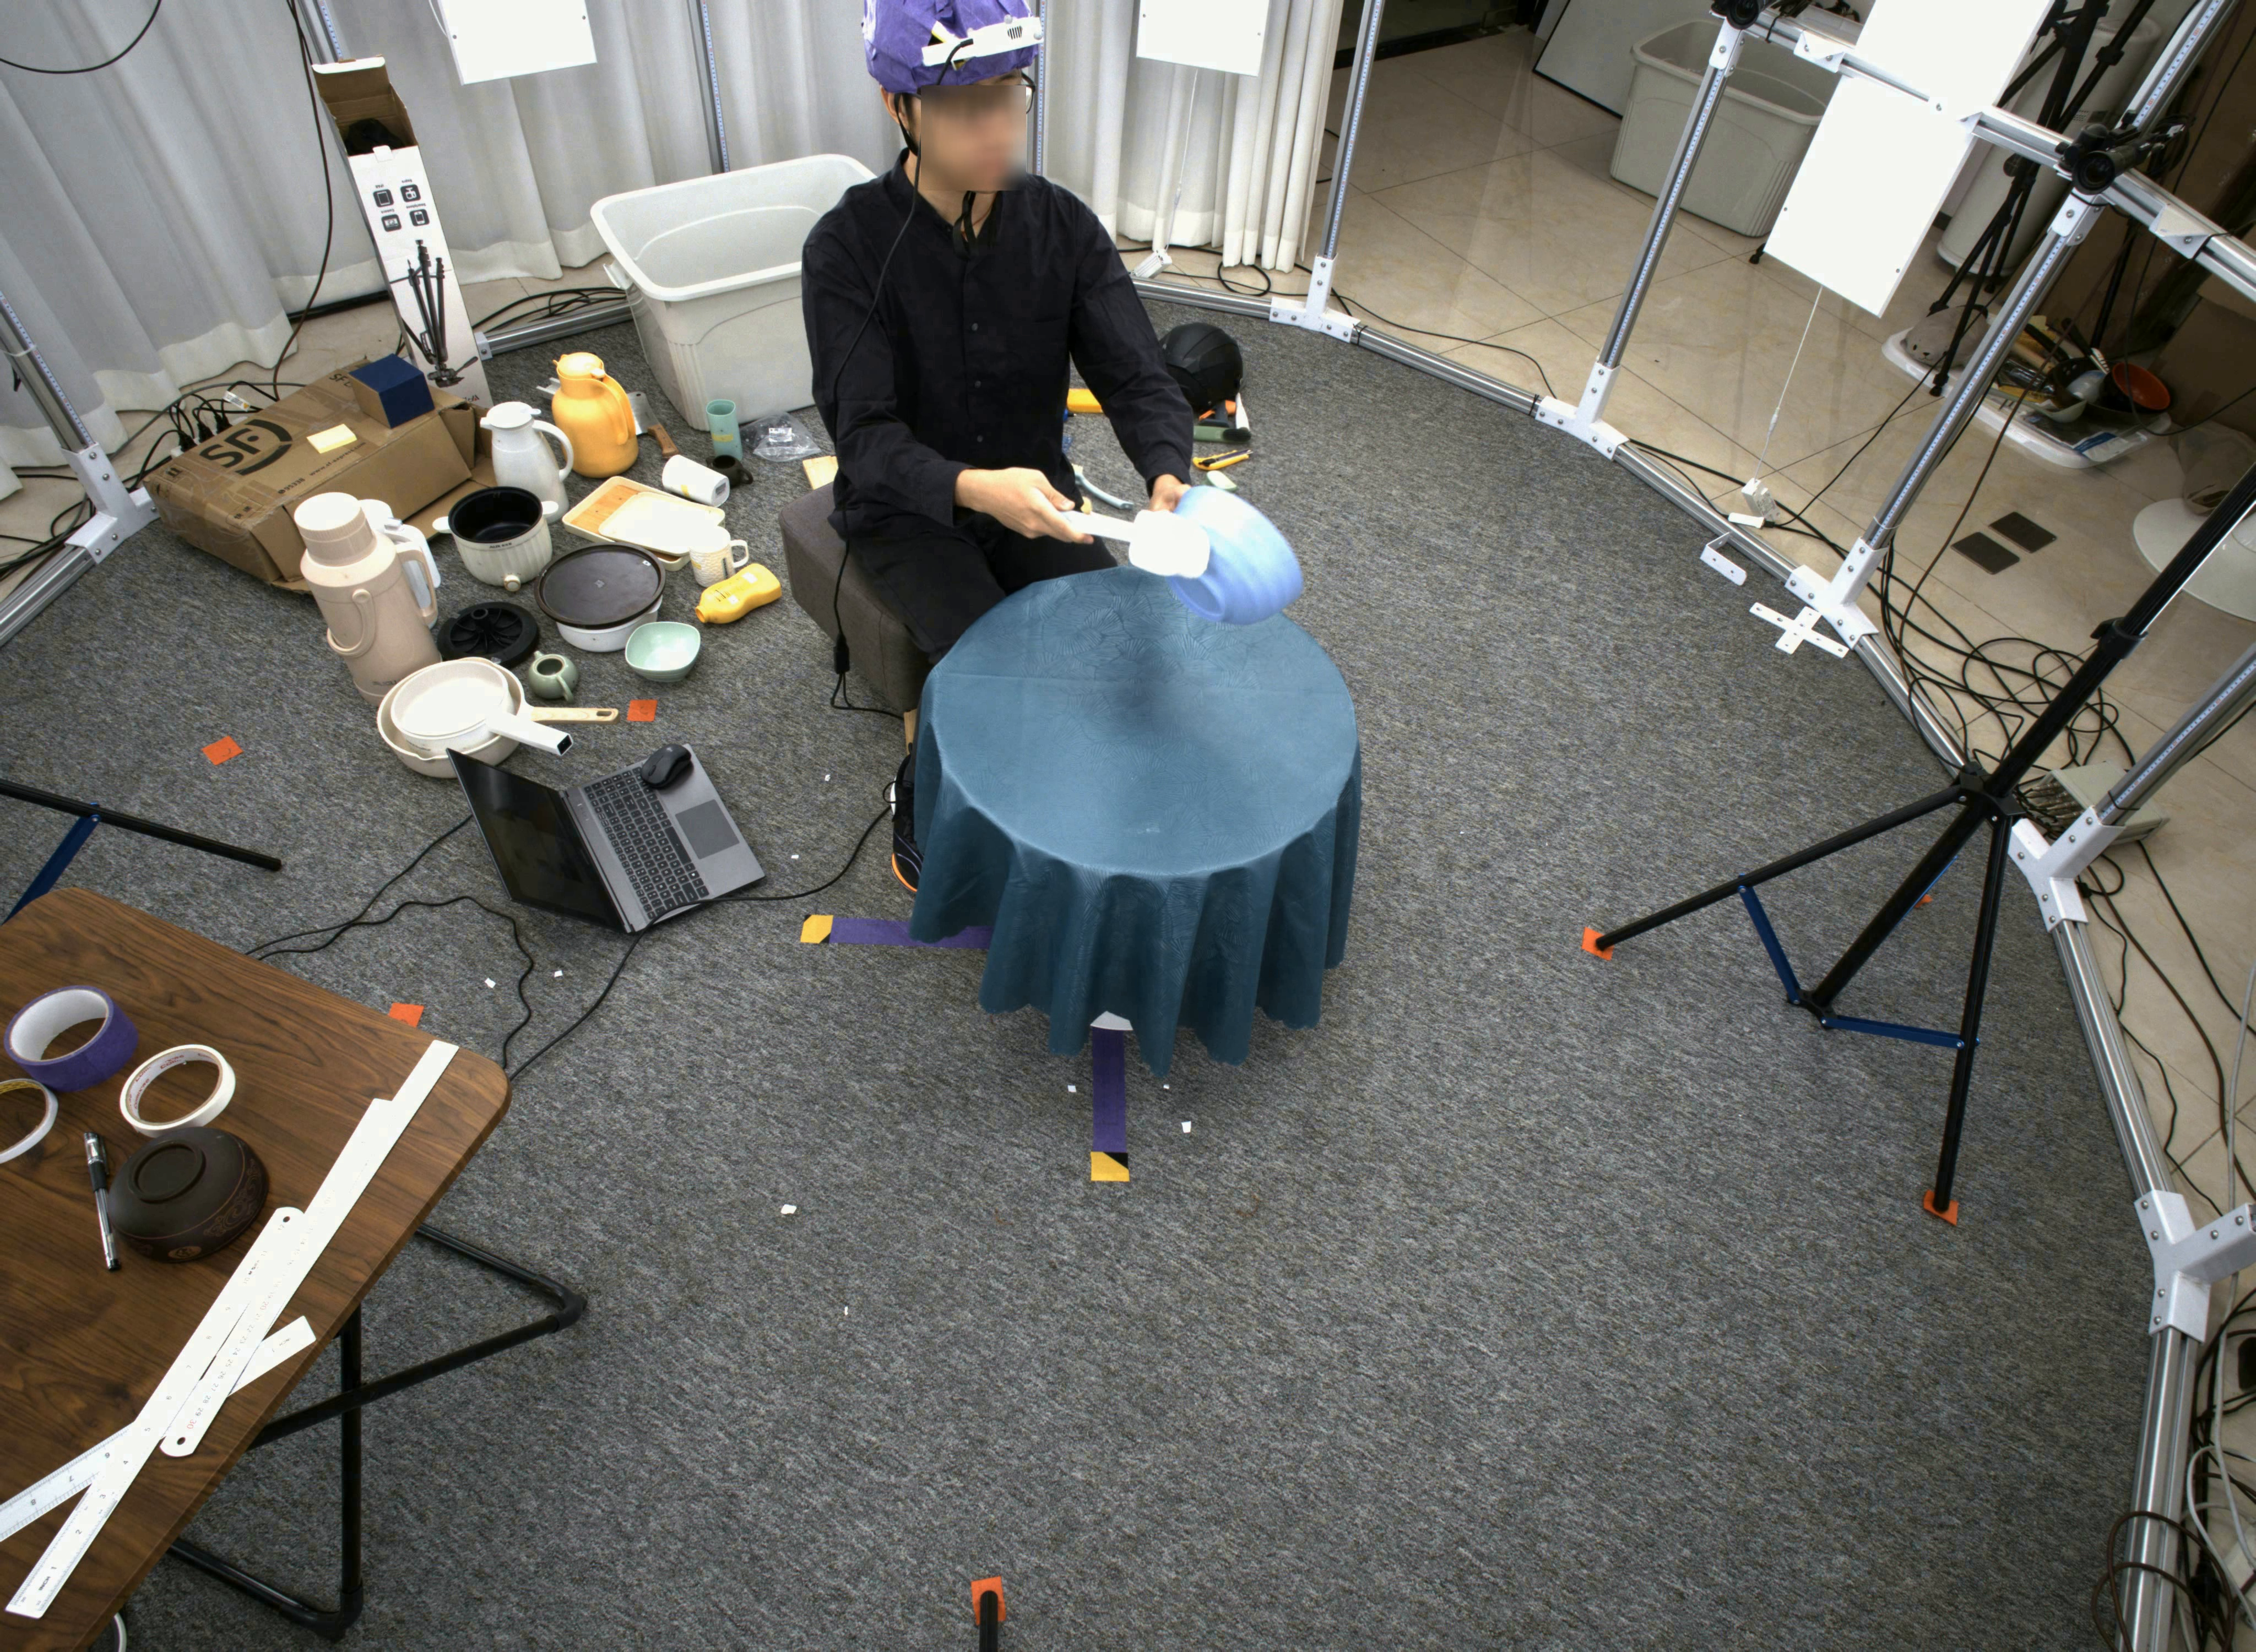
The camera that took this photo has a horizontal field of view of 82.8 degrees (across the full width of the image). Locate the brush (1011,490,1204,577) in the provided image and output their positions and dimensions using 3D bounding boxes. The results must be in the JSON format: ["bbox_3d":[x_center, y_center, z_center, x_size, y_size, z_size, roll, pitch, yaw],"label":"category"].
[{"bbox_3d":[-0.018,-0.381,1.627,0.330,0.083,0.083,29,81,39],"label":"brush"}]

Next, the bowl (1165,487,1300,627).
[{"bbox_3d":[0.111,-0.321,1.625,0.199,0.192,0.096,36,74,23],"label":"bowl"}]
